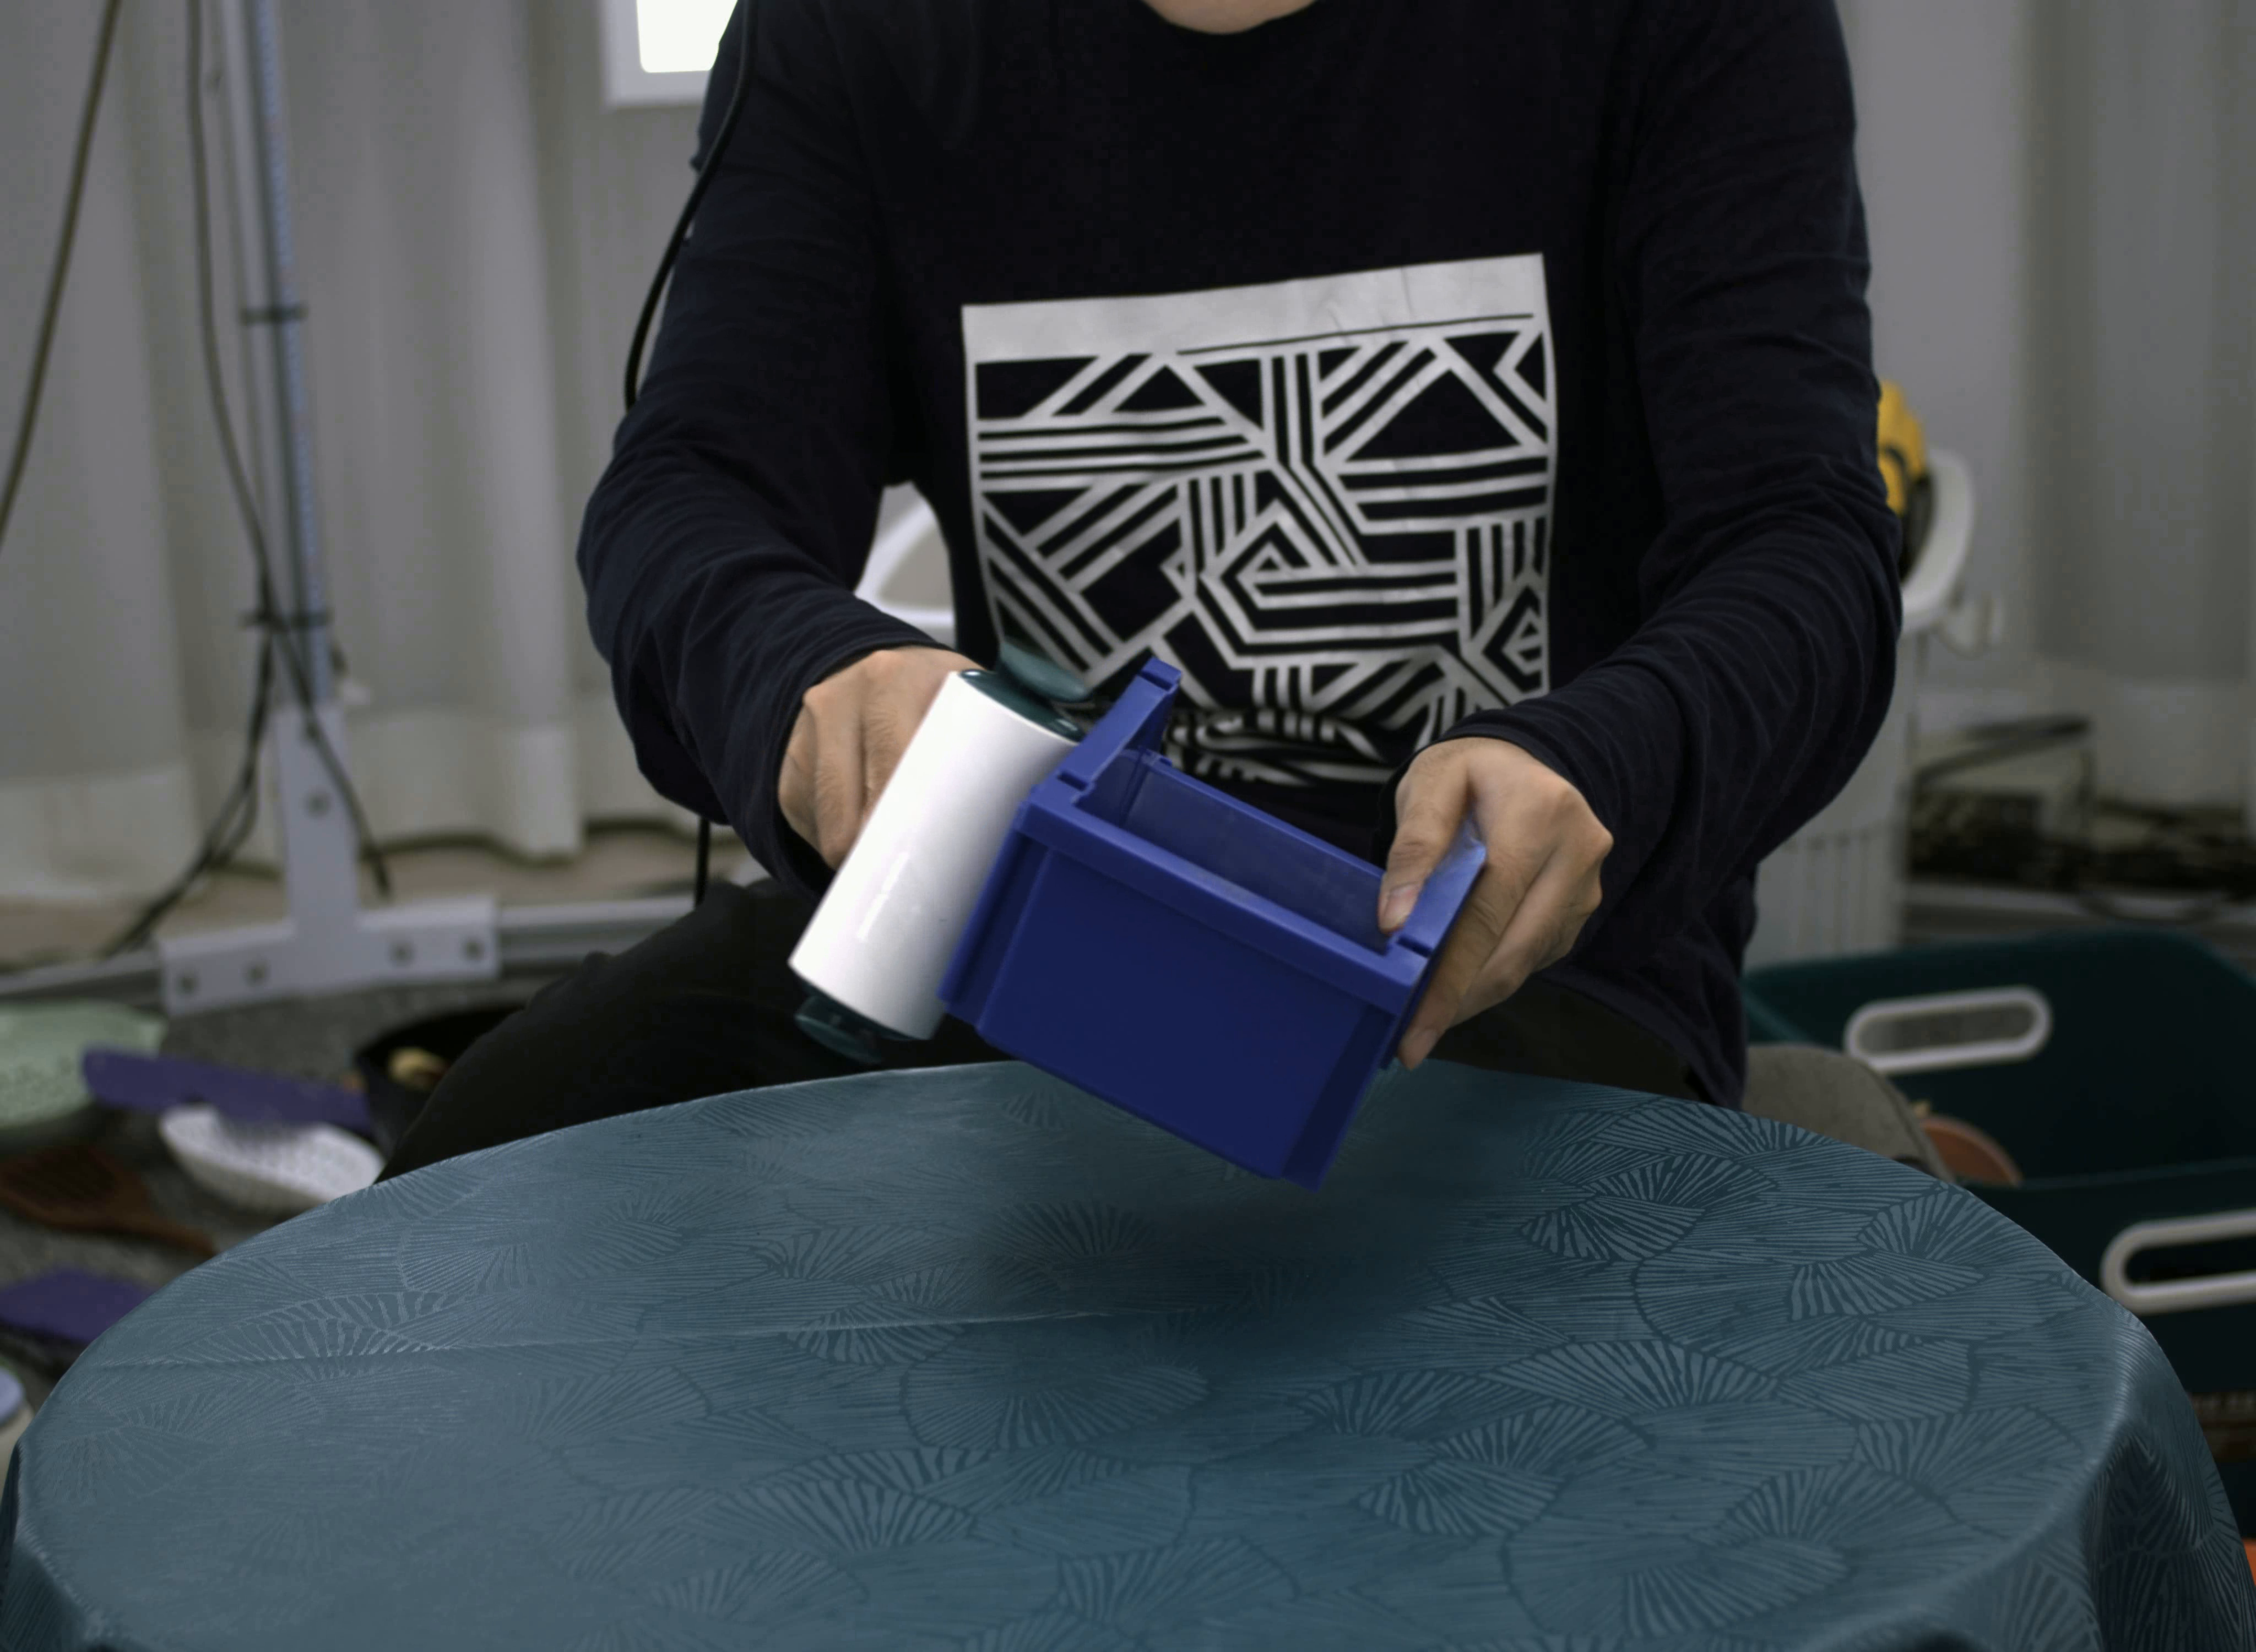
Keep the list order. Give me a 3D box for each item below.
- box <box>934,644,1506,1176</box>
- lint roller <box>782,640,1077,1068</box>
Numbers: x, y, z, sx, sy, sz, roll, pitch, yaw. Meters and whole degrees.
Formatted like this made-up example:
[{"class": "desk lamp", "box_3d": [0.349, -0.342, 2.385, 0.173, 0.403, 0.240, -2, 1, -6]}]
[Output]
[{"class": "box", "box_3d": [0.030, 0.020, 1.628, 0.124, 0.081, 0.180, 26, 24, 7]}, {"class": "lint roller", "box_3d": [-0.067, -0.003, 1.674, 0.048, 0.134, 0.181, 28, 5, -12]}]
